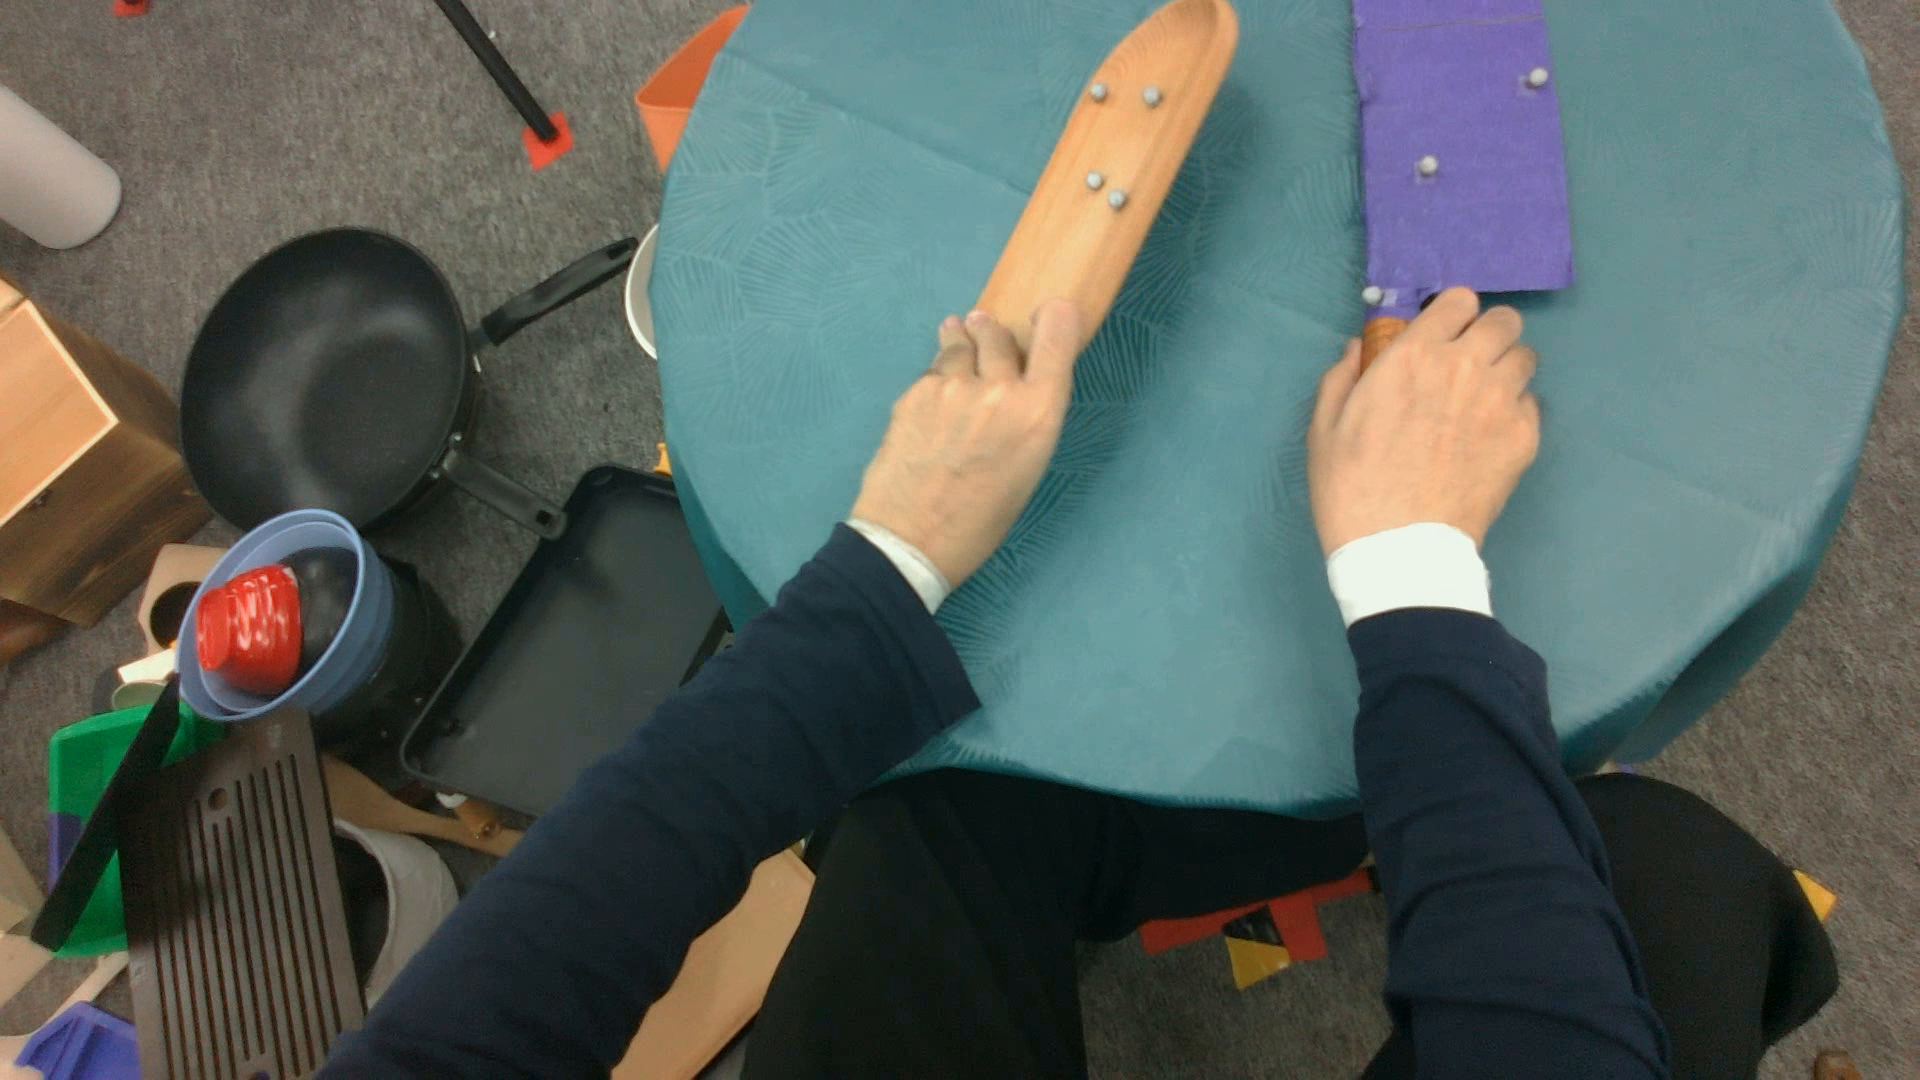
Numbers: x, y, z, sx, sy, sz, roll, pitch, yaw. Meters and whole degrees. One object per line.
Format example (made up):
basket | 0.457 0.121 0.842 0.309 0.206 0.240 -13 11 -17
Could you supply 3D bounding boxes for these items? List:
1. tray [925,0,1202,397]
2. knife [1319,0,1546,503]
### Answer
tray | 0.049 -0.167 0.650 0.020 0.101 0.231 31 75 -25
knife | 0.221 -0.168 0.643 0.104 0.032 0.316 -2 69 9
